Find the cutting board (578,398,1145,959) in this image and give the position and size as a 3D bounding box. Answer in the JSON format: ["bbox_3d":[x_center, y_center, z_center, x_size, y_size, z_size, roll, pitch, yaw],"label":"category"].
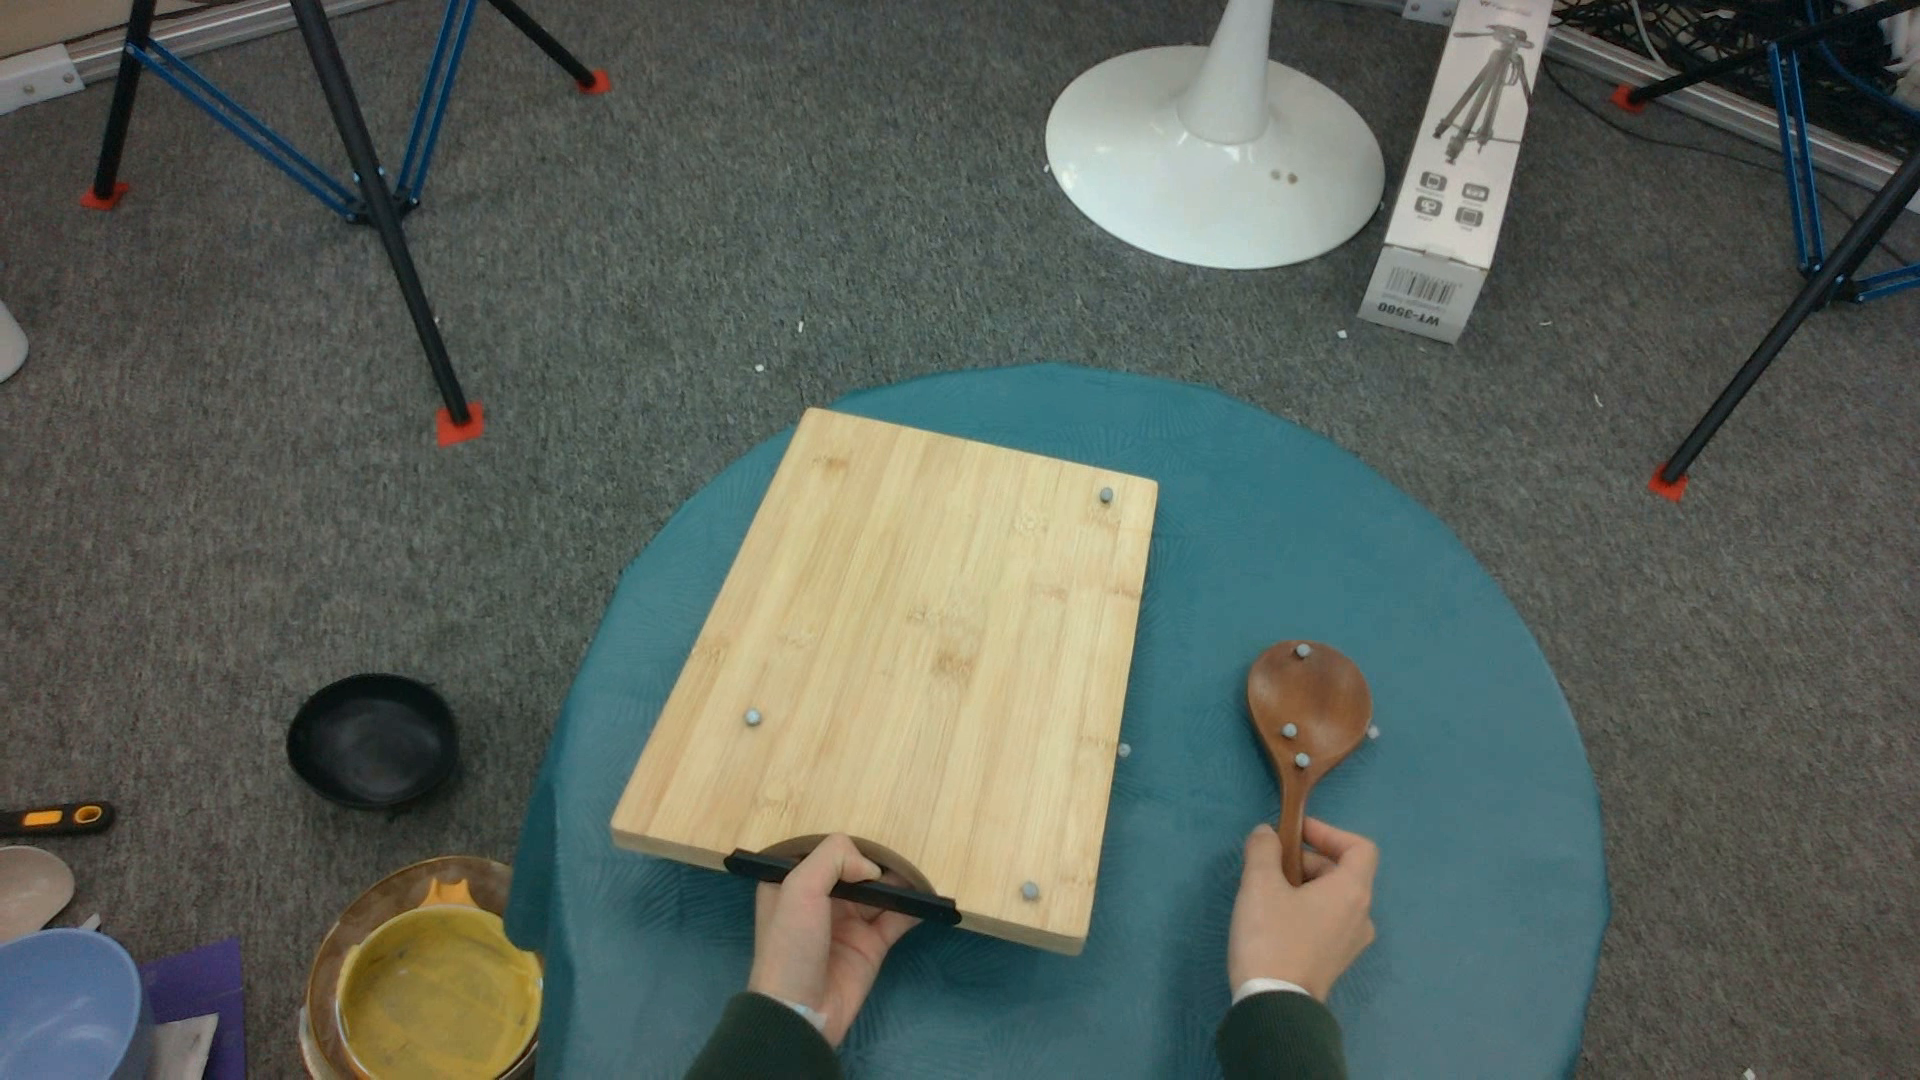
[{"bbox_3d":[-0.033,0.055,0.787,0.250,0.023,0.350,12,45,3],"label":"cutting board"}]

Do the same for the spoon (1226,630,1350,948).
[{"bbox_3d":[0.177,0.133,0.771,0.075,0.017,0.217,17,45,5],"label":"spoon"}]
